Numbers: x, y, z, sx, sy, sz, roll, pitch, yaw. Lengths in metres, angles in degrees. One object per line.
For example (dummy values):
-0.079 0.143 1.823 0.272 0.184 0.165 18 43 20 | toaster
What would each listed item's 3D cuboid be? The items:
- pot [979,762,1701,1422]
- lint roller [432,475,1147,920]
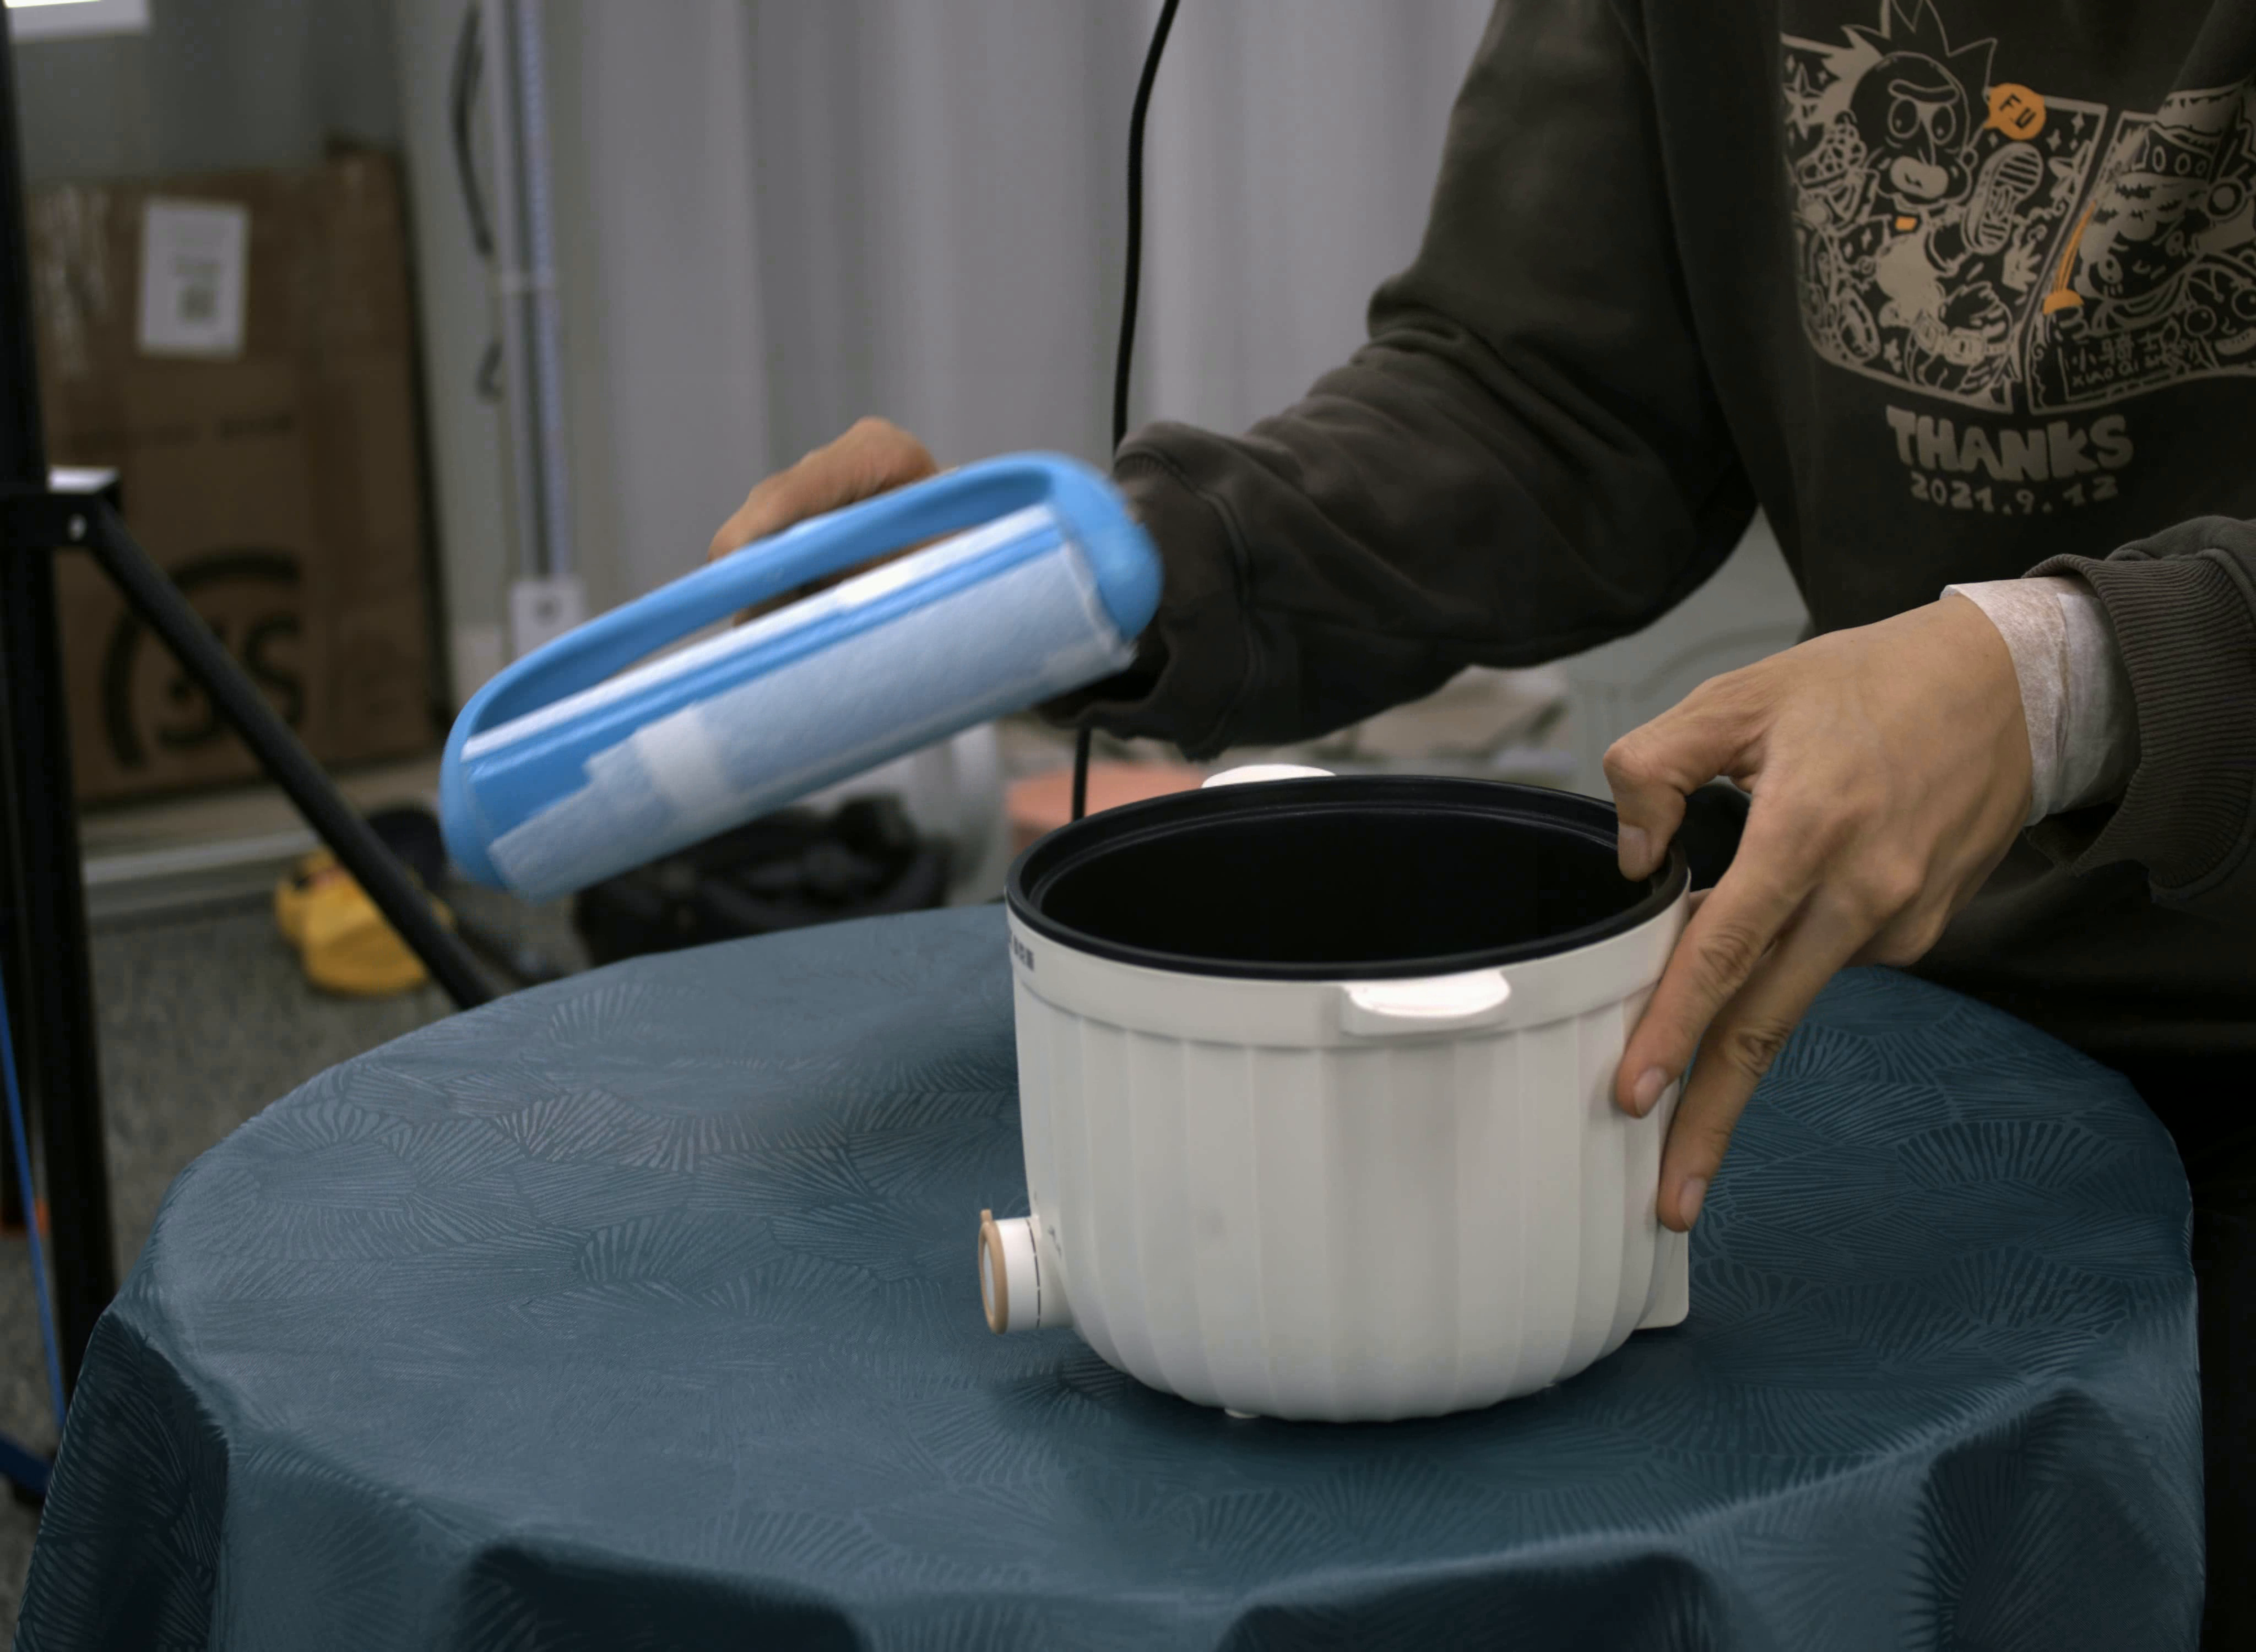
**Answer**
0.056 0.075 1.416 0.188 0.143 0.243 -2 14 -10 | pot
-0.101 -0.054 1.627 0.230 0.067 0.181 -24 19 10 | lint roller
